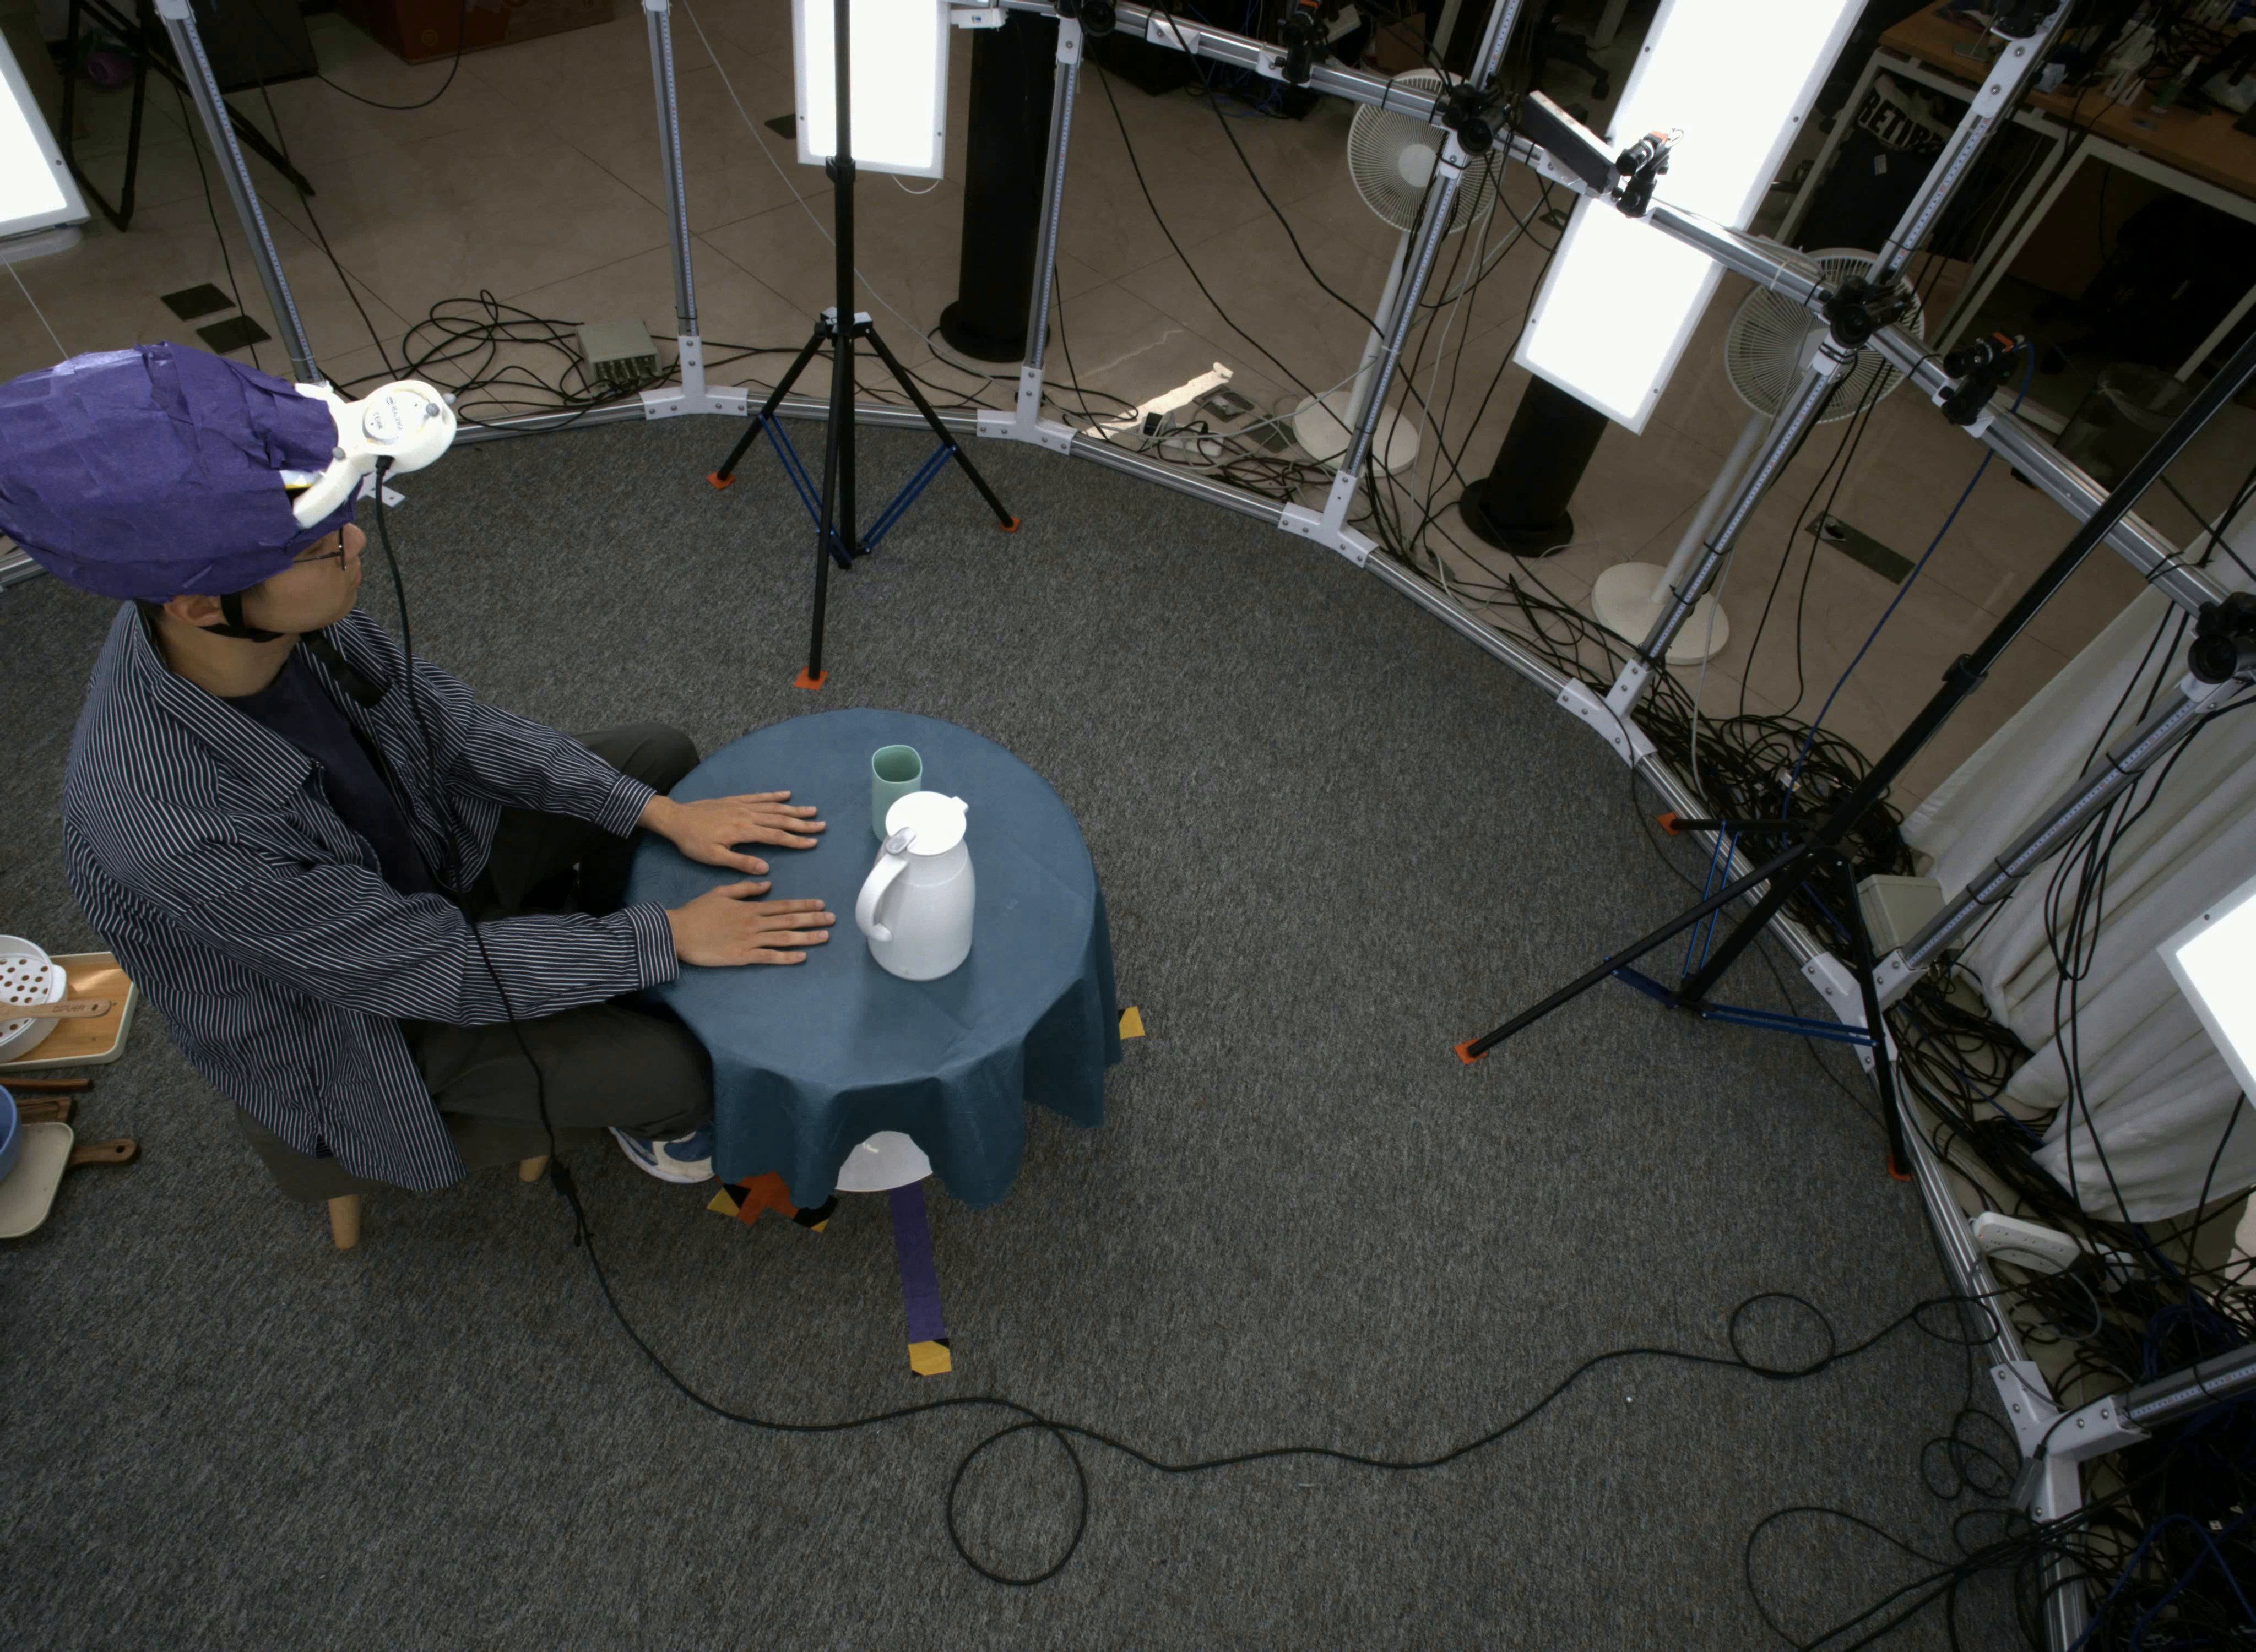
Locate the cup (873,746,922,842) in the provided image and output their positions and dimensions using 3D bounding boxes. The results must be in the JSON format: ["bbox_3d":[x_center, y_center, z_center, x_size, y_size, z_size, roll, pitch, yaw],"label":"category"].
[{"bbox_3d":[-0.306,-0.038,1.718,0.066,0.135,0.065,6,51,-6],"label":"cup"}]

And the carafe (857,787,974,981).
[{"bbox_3d":[-0.259,0.075,1.559,0.130,0.254,0.167,33,55,14],"label":"carafe"}]
